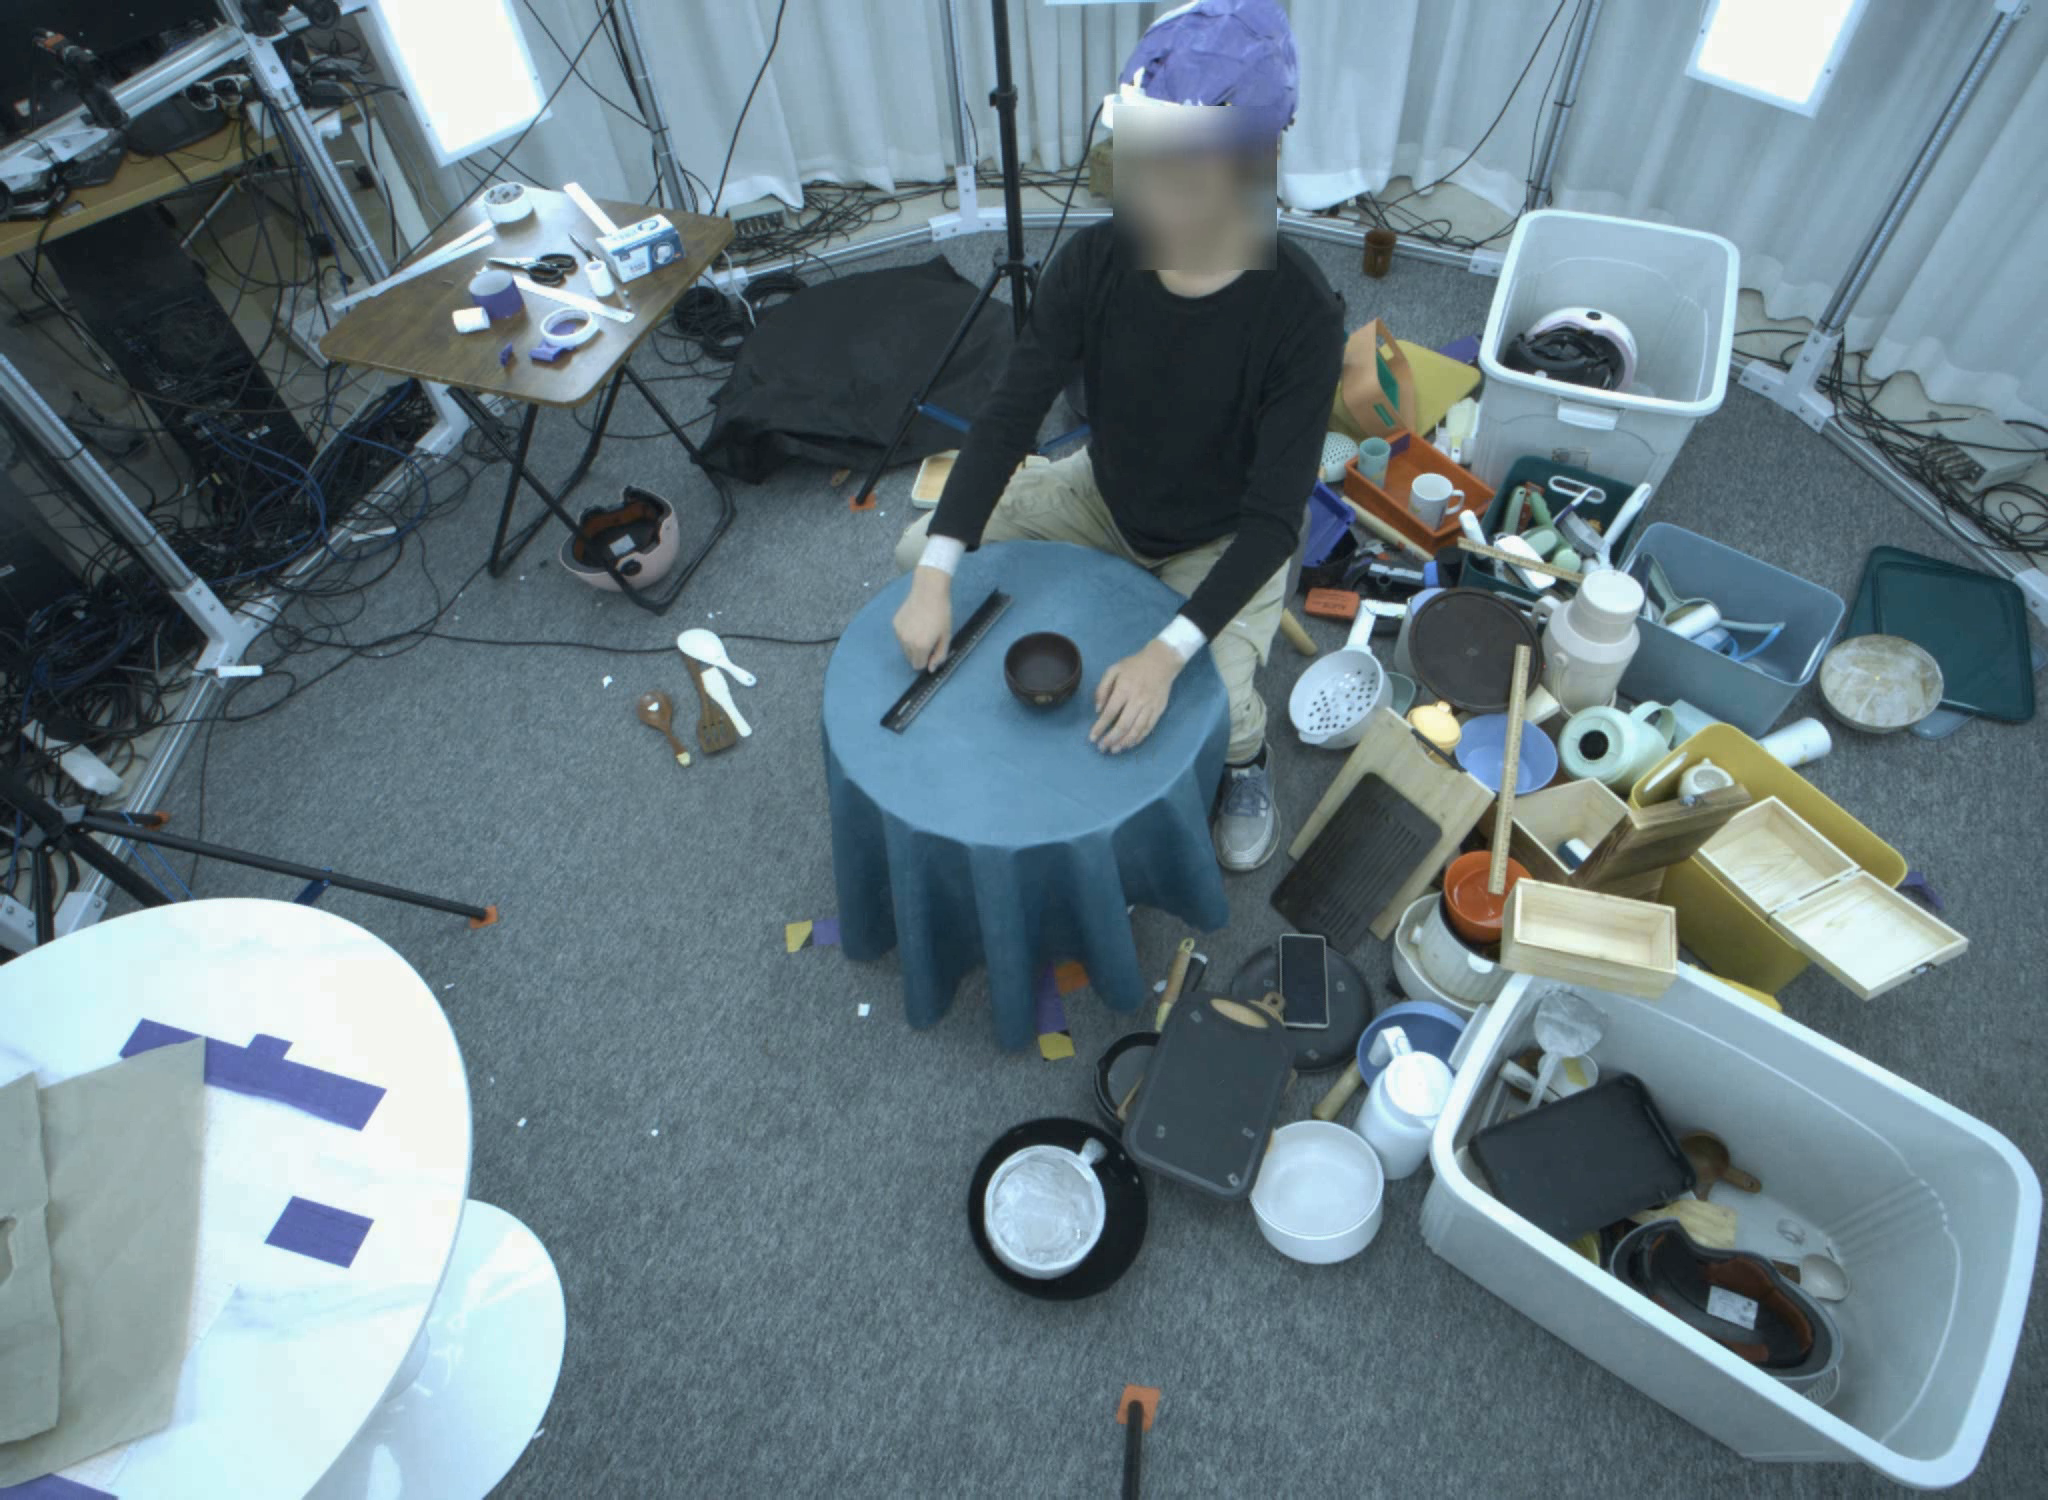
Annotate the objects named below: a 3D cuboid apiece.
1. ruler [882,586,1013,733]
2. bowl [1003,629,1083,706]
[{"bbox_3d":[-0.115,-0.144,1.883,0.039,0.017,0.313,26,60,19],"label":"ruler"},{"bbox_3d":[0.029,-0.114,1.822,0.118,0.070,0.117,-1,56,2],"label":"bowl"}]
